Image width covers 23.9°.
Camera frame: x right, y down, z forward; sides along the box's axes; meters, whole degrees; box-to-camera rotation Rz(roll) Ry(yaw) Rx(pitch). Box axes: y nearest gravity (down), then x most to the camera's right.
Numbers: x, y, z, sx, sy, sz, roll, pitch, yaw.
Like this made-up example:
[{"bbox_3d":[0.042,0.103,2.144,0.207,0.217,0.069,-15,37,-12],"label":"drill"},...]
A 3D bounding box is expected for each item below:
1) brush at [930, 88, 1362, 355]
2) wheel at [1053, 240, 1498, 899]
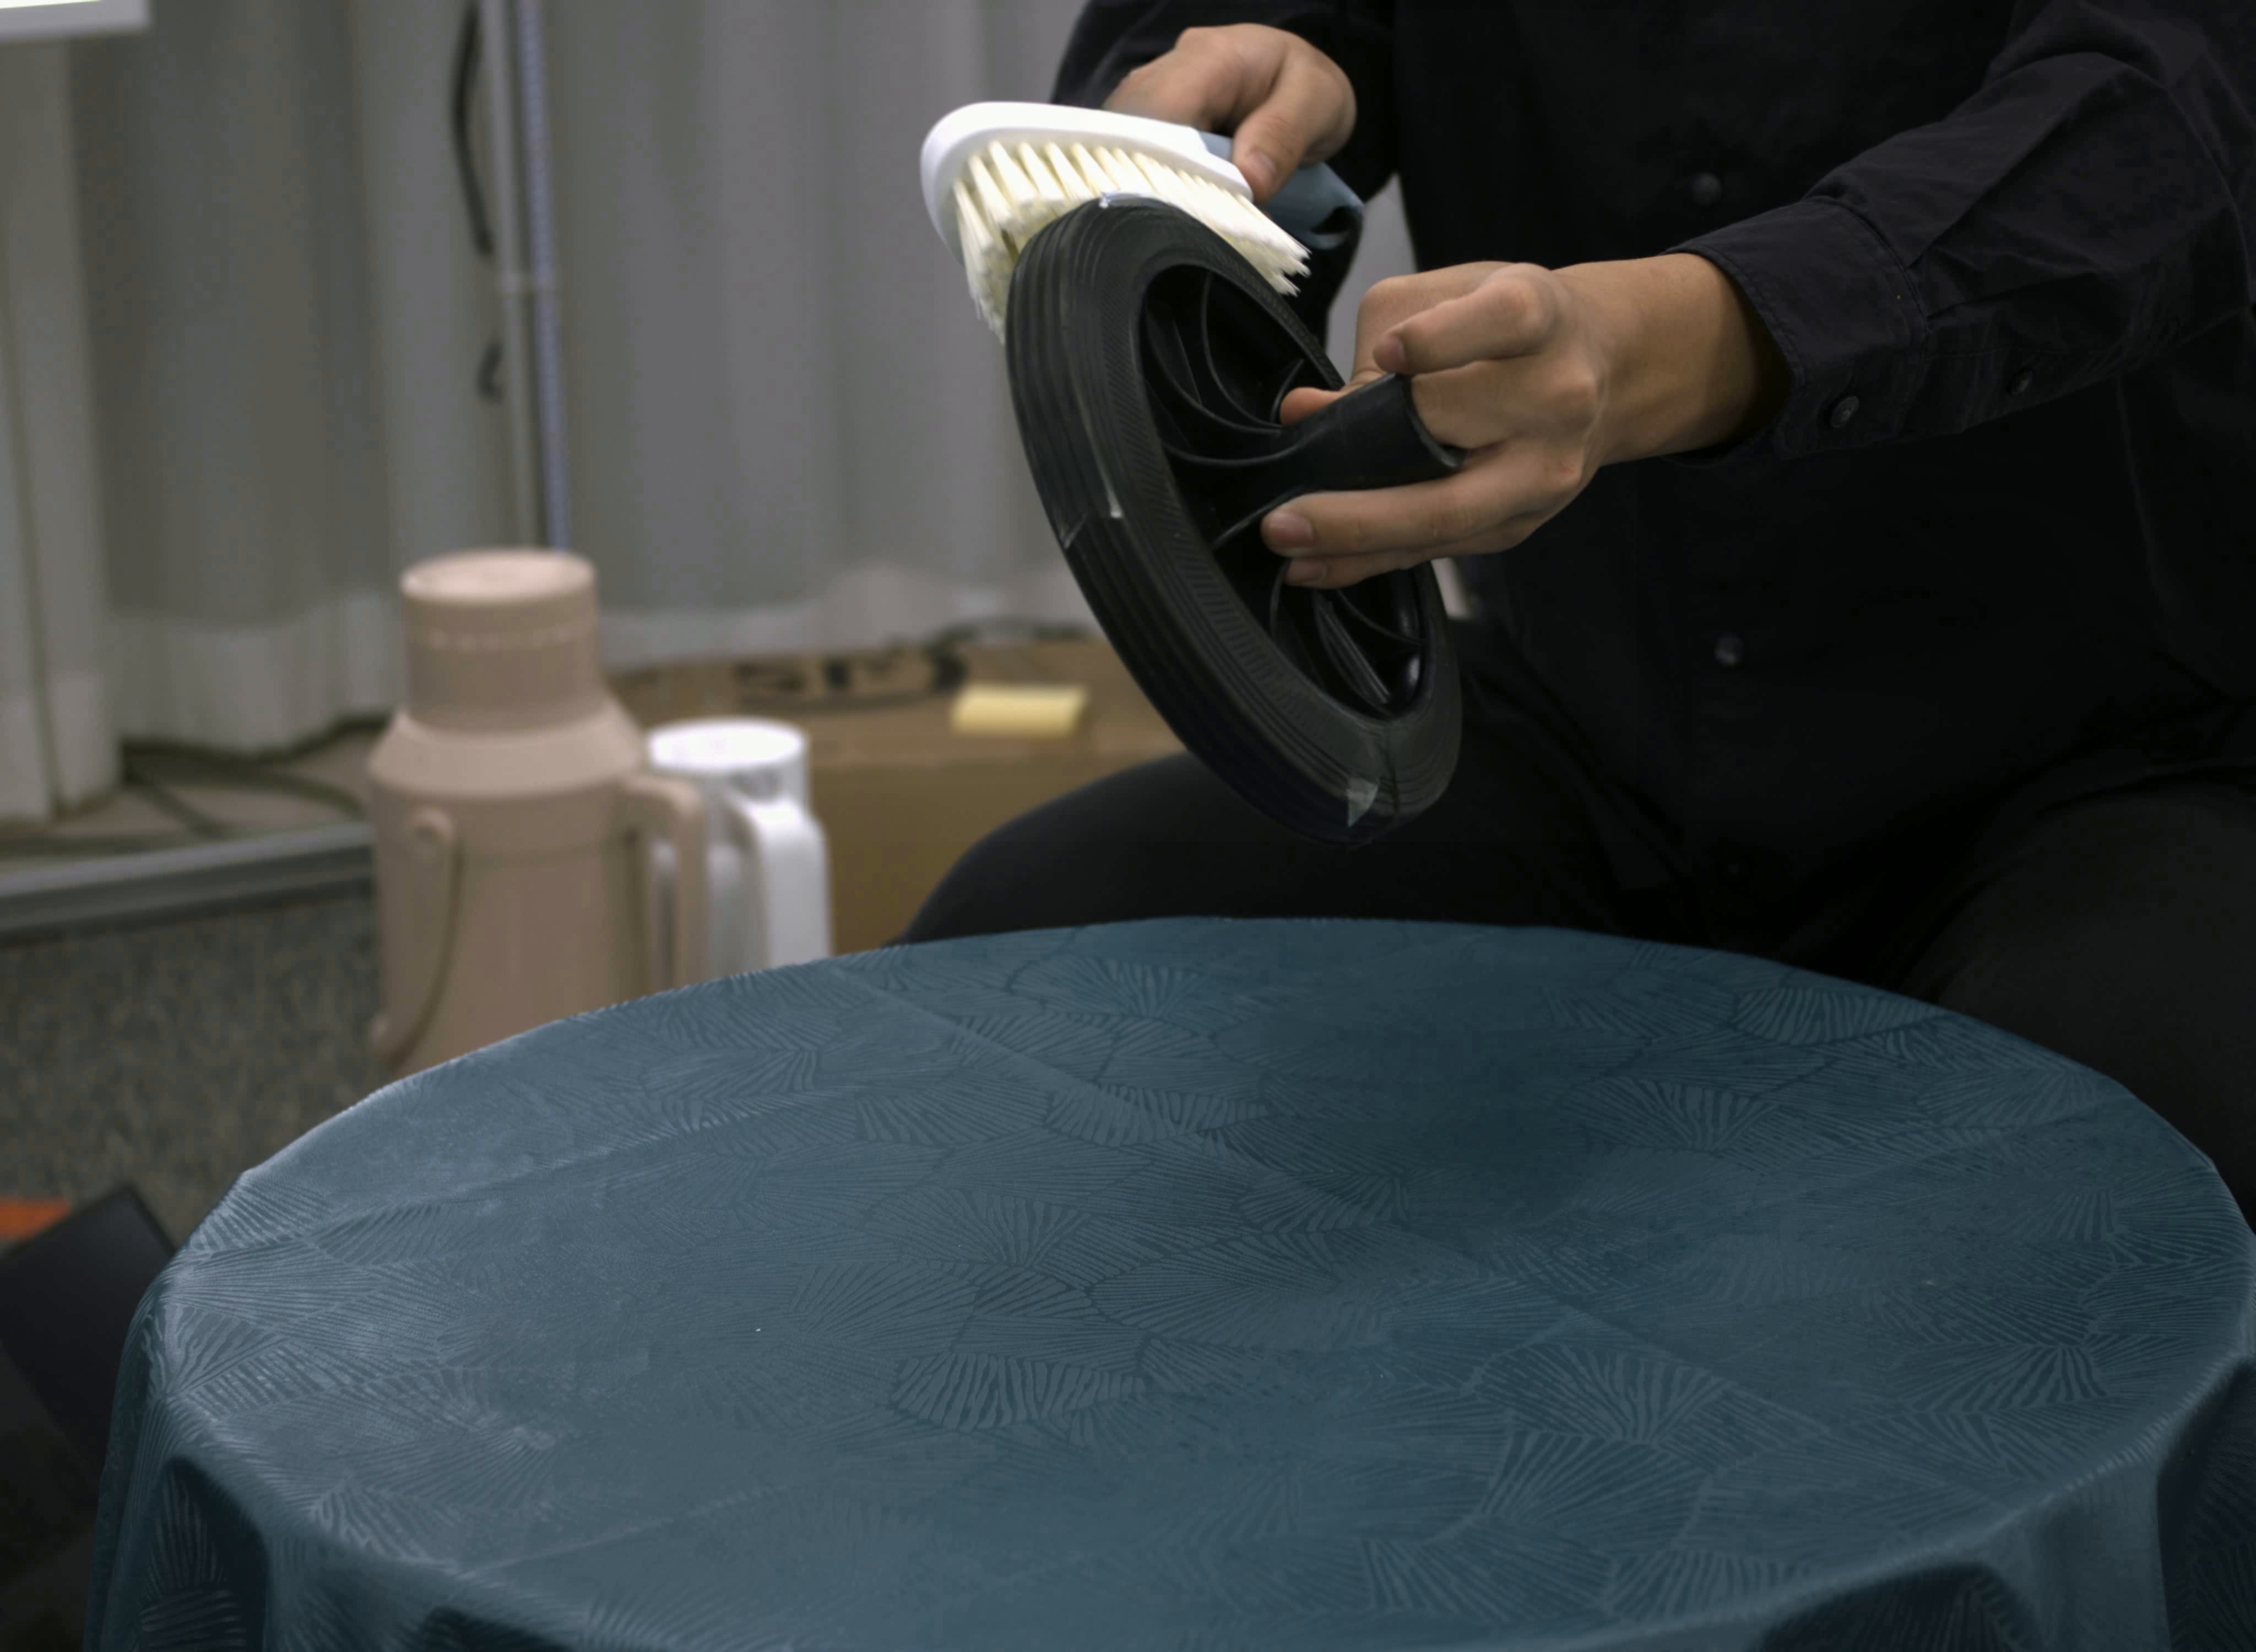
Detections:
[{"bbox_3d":[0.033,-0.173,1.590,0.084,0.085,0.320,-3,1,22],"label":"brush"},{"bbox_3d":[0.058,-0.078,1.419,0.080,0.185,0.189,-28,18,24],"label":"wheel"}]
